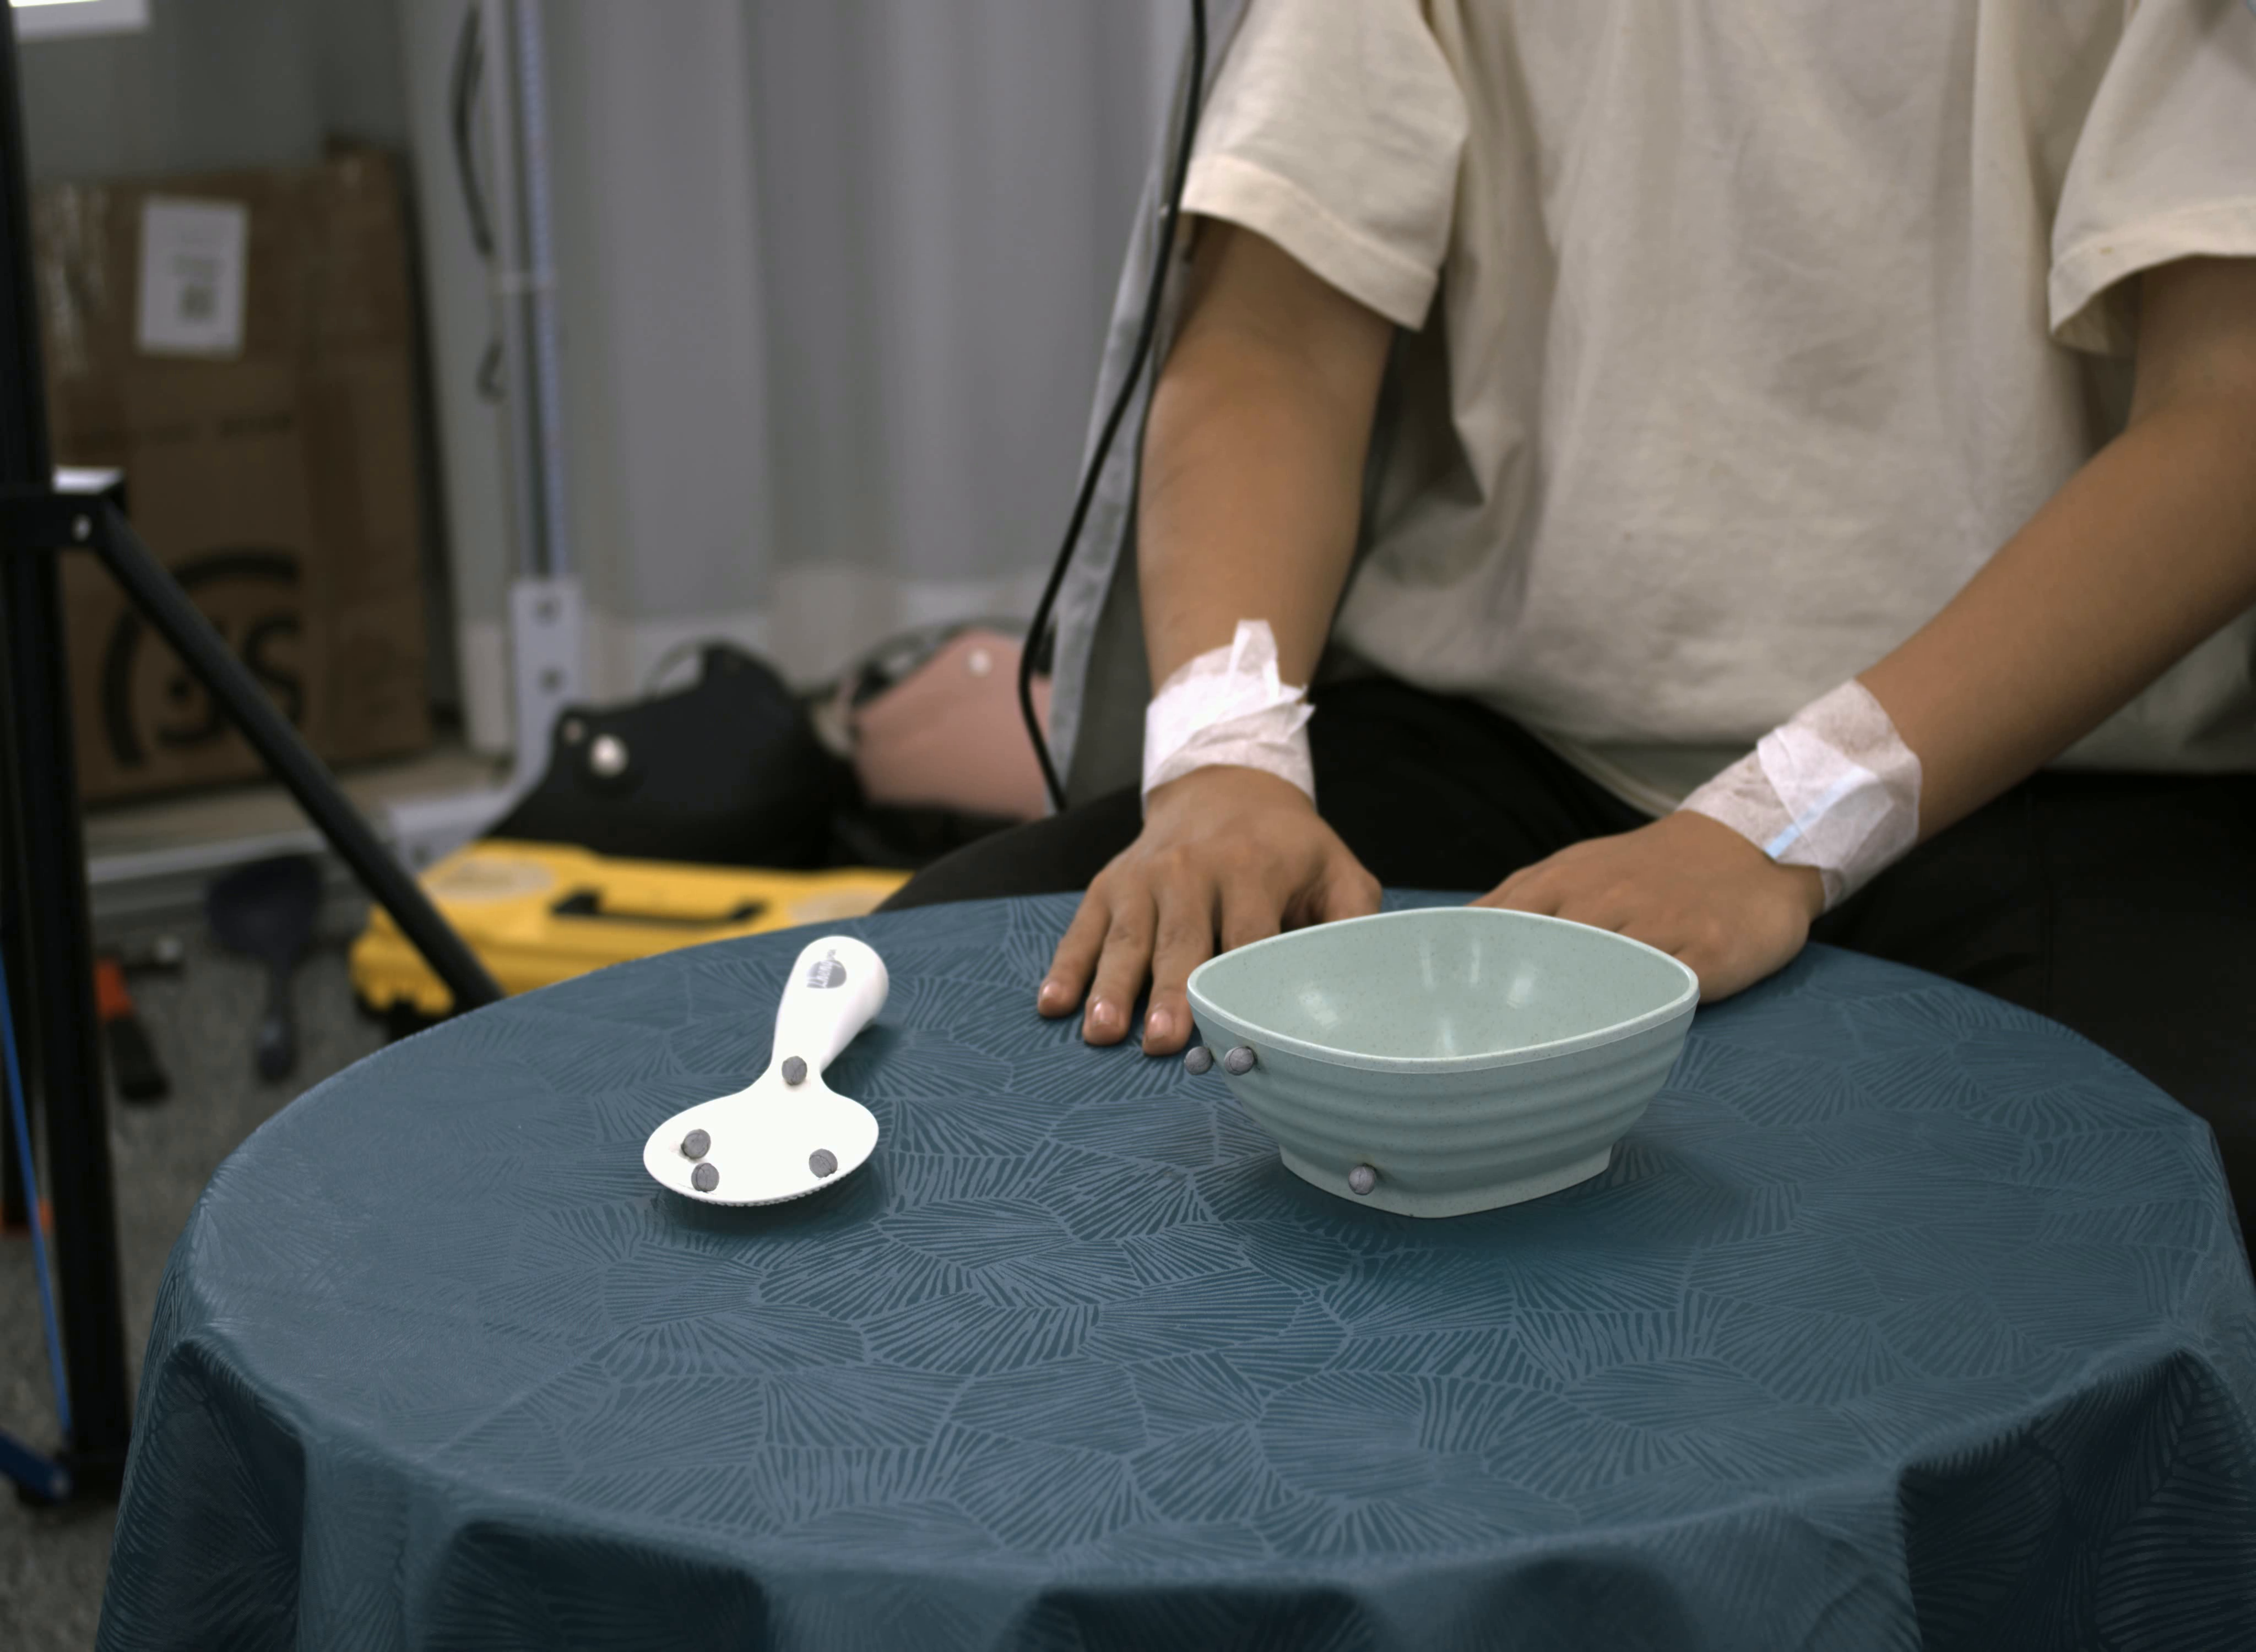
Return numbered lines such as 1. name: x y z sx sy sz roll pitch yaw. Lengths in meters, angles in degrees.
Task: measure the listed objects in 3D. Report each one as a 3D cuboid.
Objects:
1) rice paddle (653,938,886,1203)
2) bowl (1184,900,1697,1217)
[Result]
1. rice paddle: -0.101 0.077 1.627 0.069 0.029 0.205 -3 15 6
2. bowl: 0.094 0.071 1.559 0.151 0.058 0.152 -6 15 0
